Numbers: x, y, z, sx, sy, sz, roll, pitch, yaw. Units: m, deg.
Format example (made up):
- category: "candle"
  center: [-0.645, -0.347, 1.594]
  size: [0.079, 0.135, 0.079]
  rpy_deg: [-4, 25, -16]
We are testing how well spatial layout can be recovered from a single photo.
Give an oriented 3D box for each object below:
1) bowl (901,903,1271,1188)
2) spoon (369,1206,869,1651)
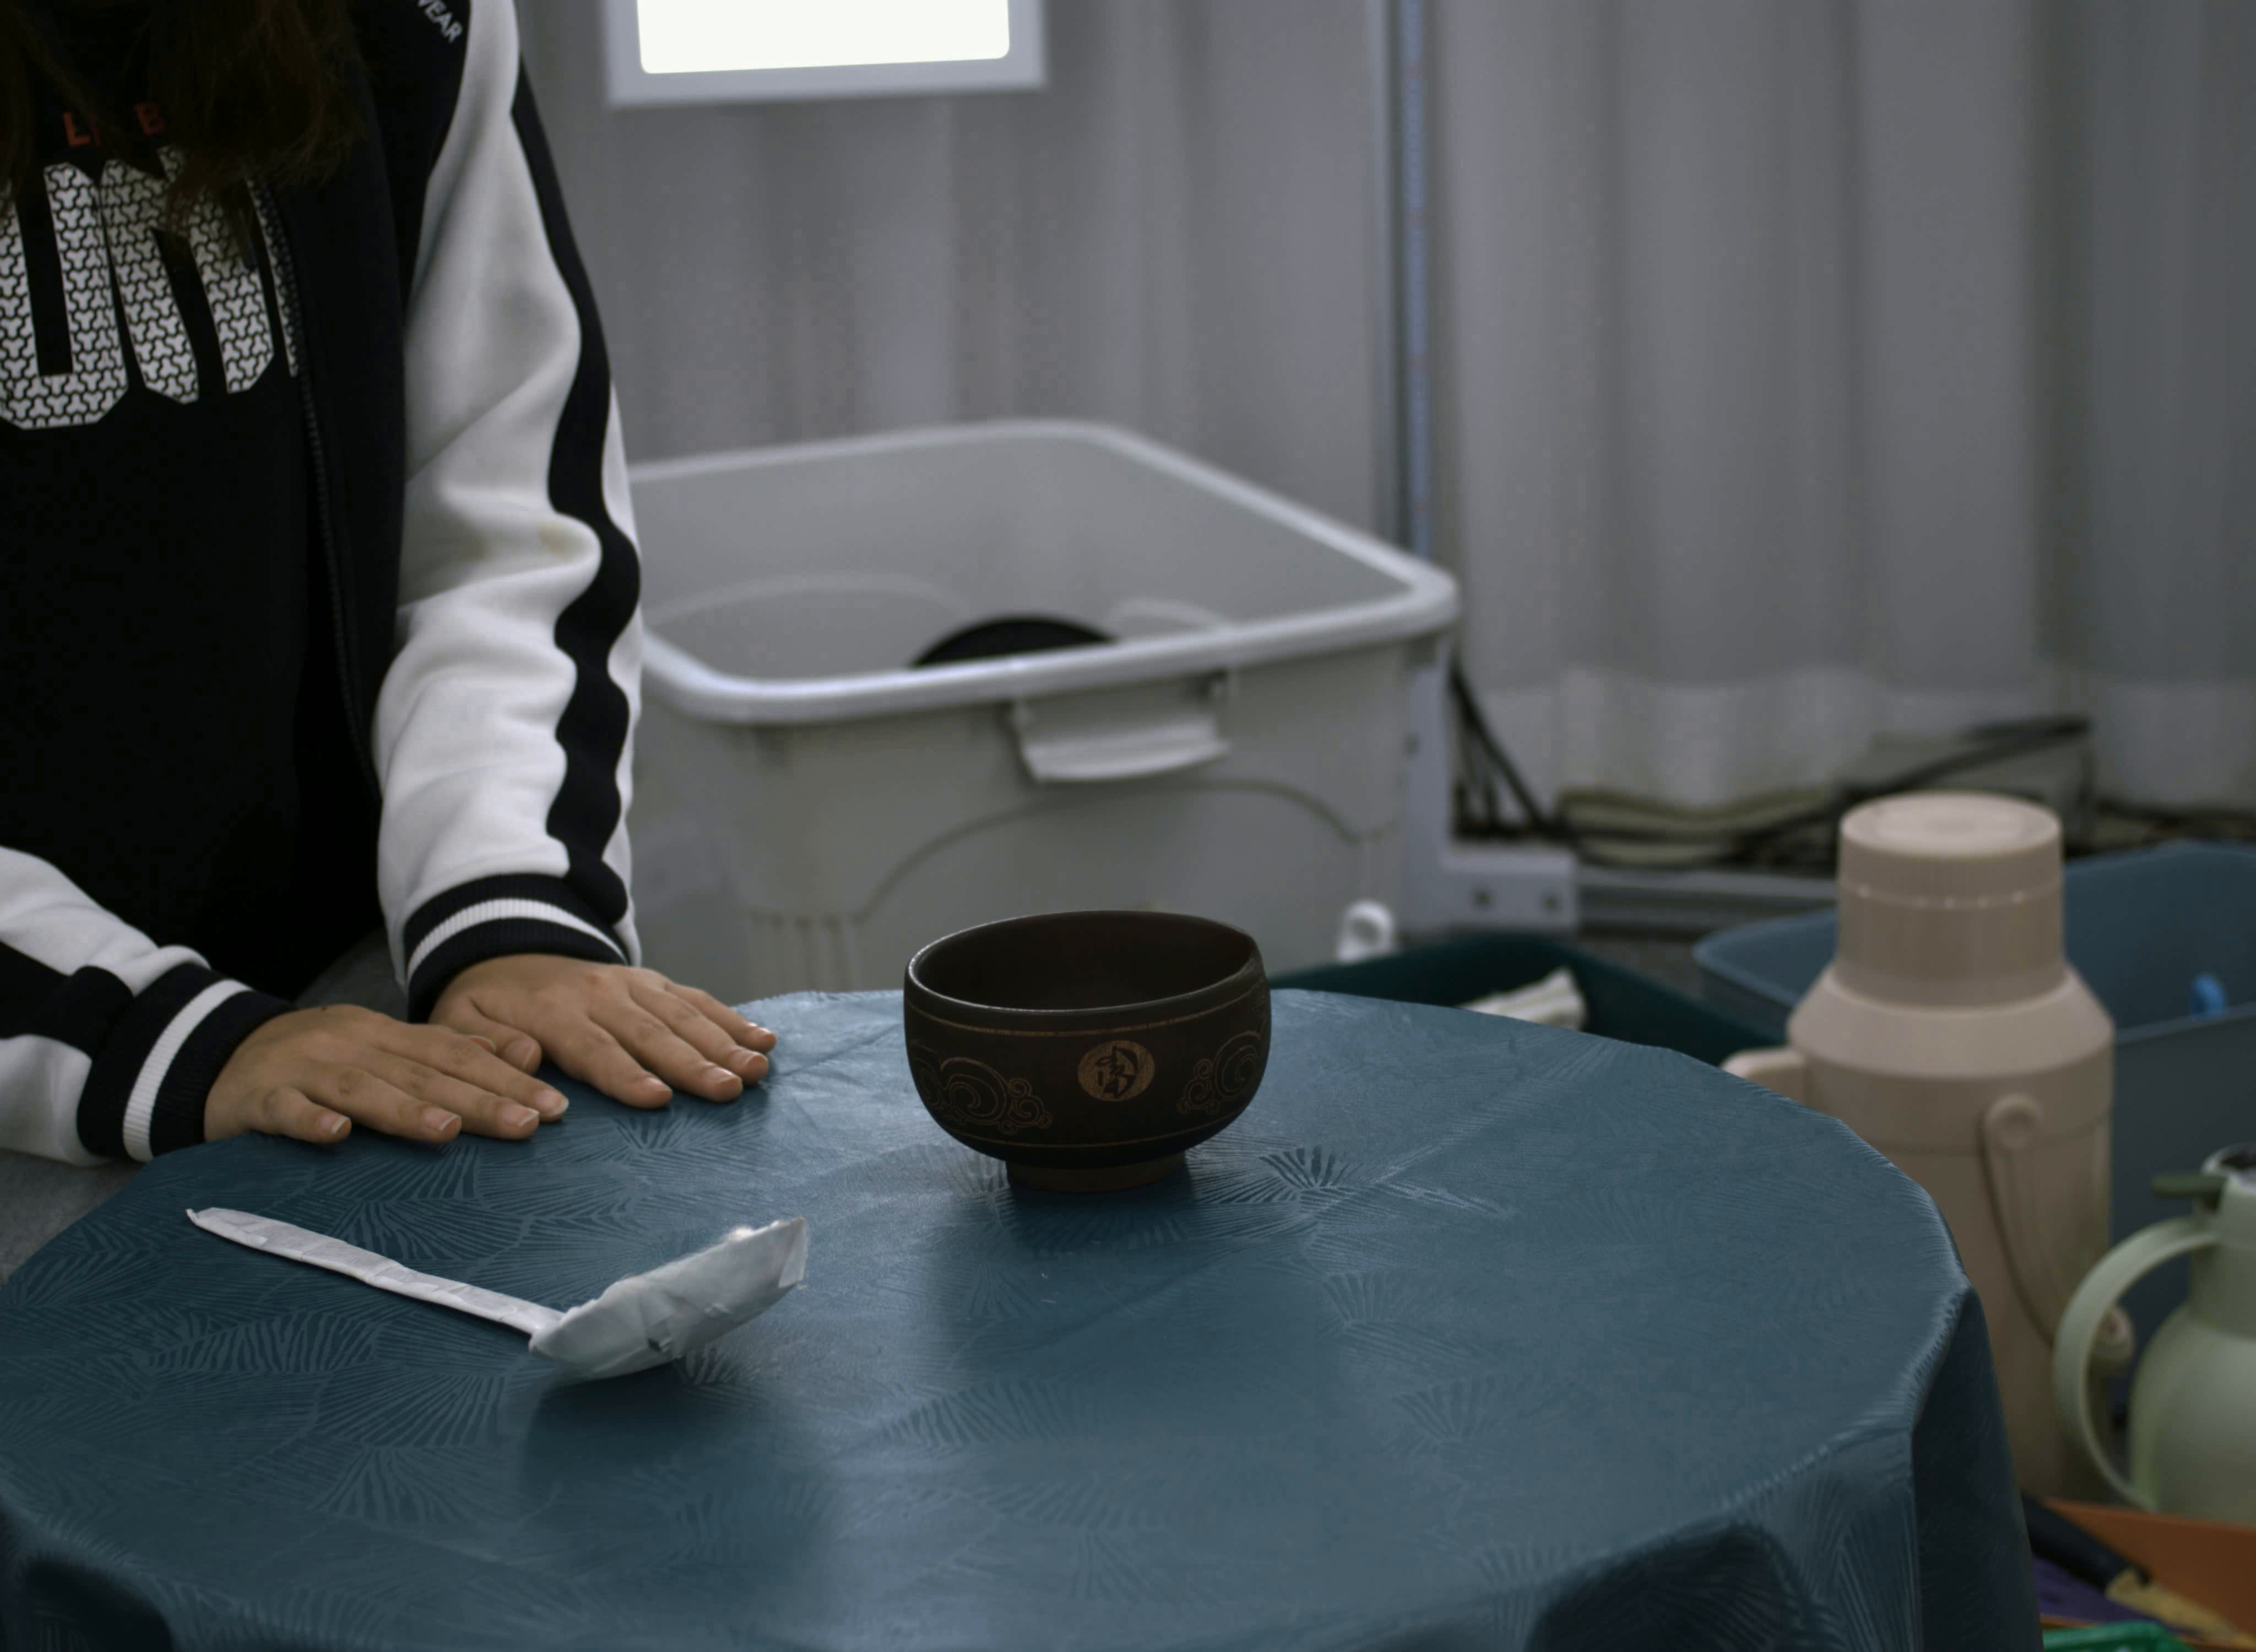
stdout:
- category: "bowl"
  center: [-0.013, 0.073, 1.732]
  size: [0.117, 0.069, 0.119]
  rpy_deg: [-3, 14, 0]
- category: "spoon"
  center: [-0.174, 0.215, 1.585]
  size: [0.060, 0.277, 0.100]
  rpy_deg: [36, 8, 23]
